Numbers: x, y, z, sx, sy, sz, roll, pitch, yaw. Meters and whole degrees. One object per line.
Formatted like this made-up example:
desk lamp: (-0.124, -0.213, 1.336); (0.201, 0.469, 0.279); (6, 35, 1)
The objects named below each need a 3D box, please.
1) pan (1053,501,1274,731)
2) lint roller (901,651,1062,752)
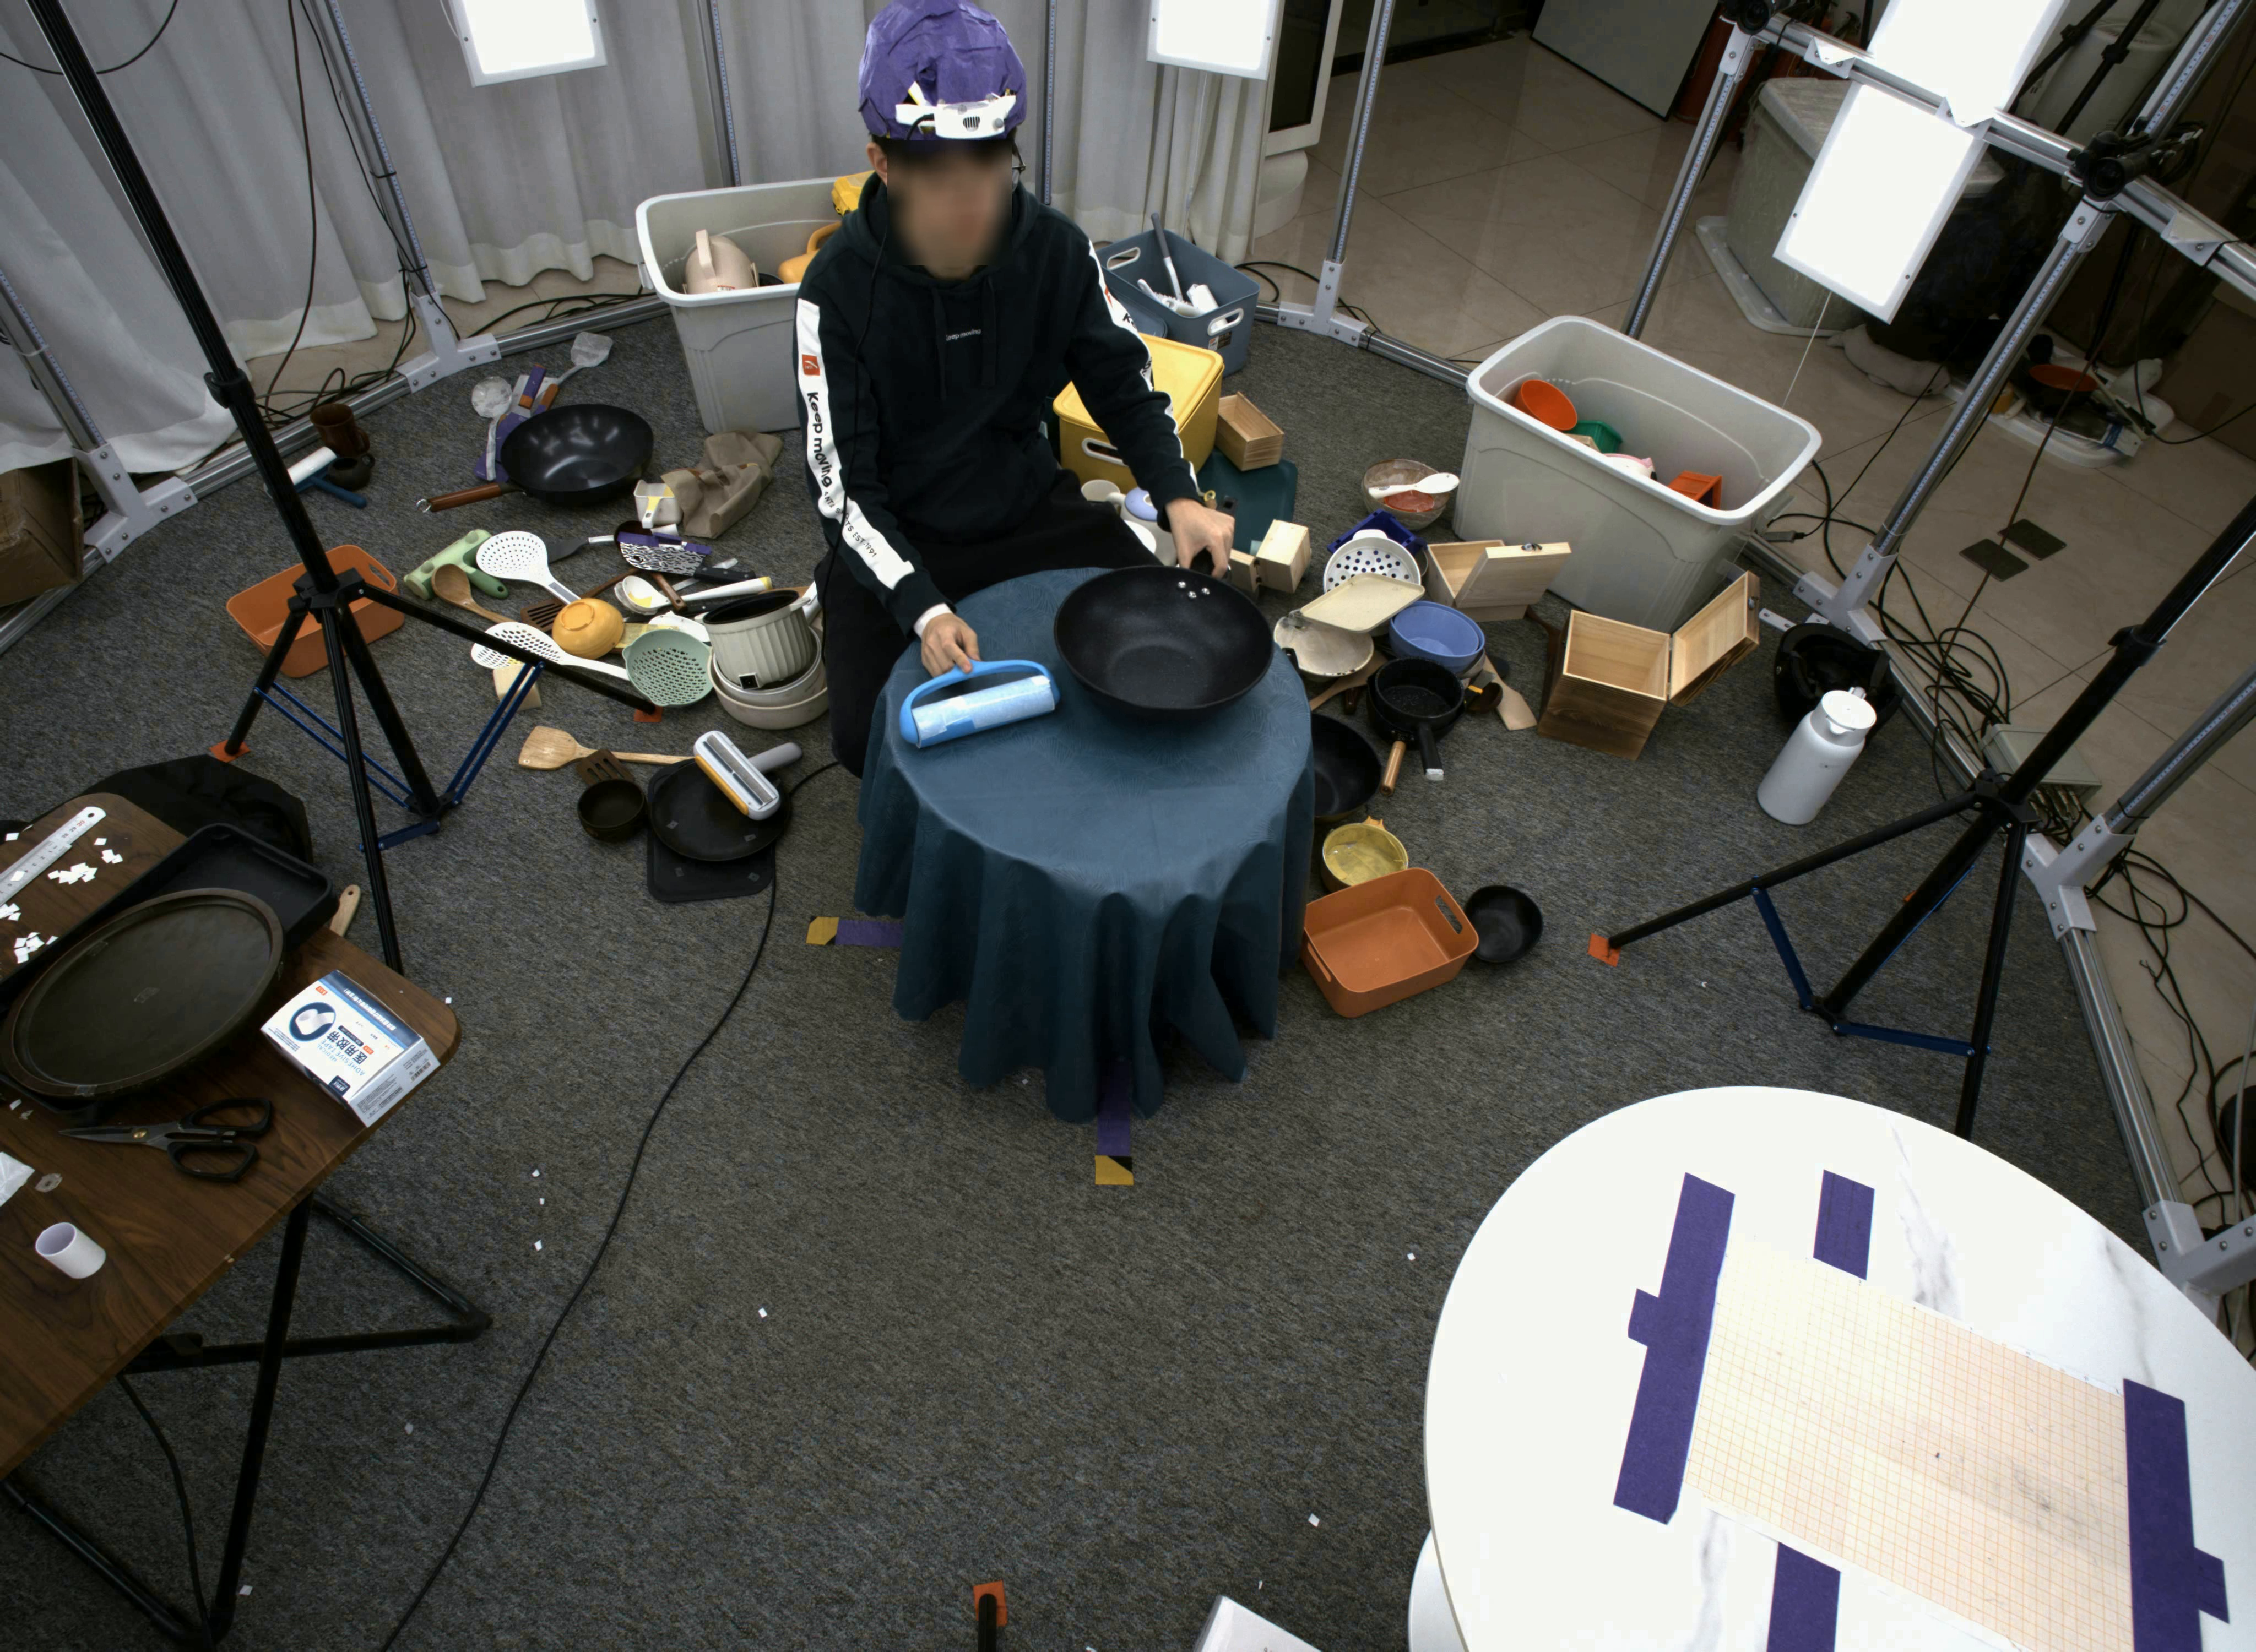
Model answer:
pan: (0.075, -0.301, 1.866); (0.311, 0.109, 0.486); (18, 48, 9)
lint roller: (-0.224, -0.198, 1.789); (0.229, 0.066, 0.184); (-21, 55, -18)
